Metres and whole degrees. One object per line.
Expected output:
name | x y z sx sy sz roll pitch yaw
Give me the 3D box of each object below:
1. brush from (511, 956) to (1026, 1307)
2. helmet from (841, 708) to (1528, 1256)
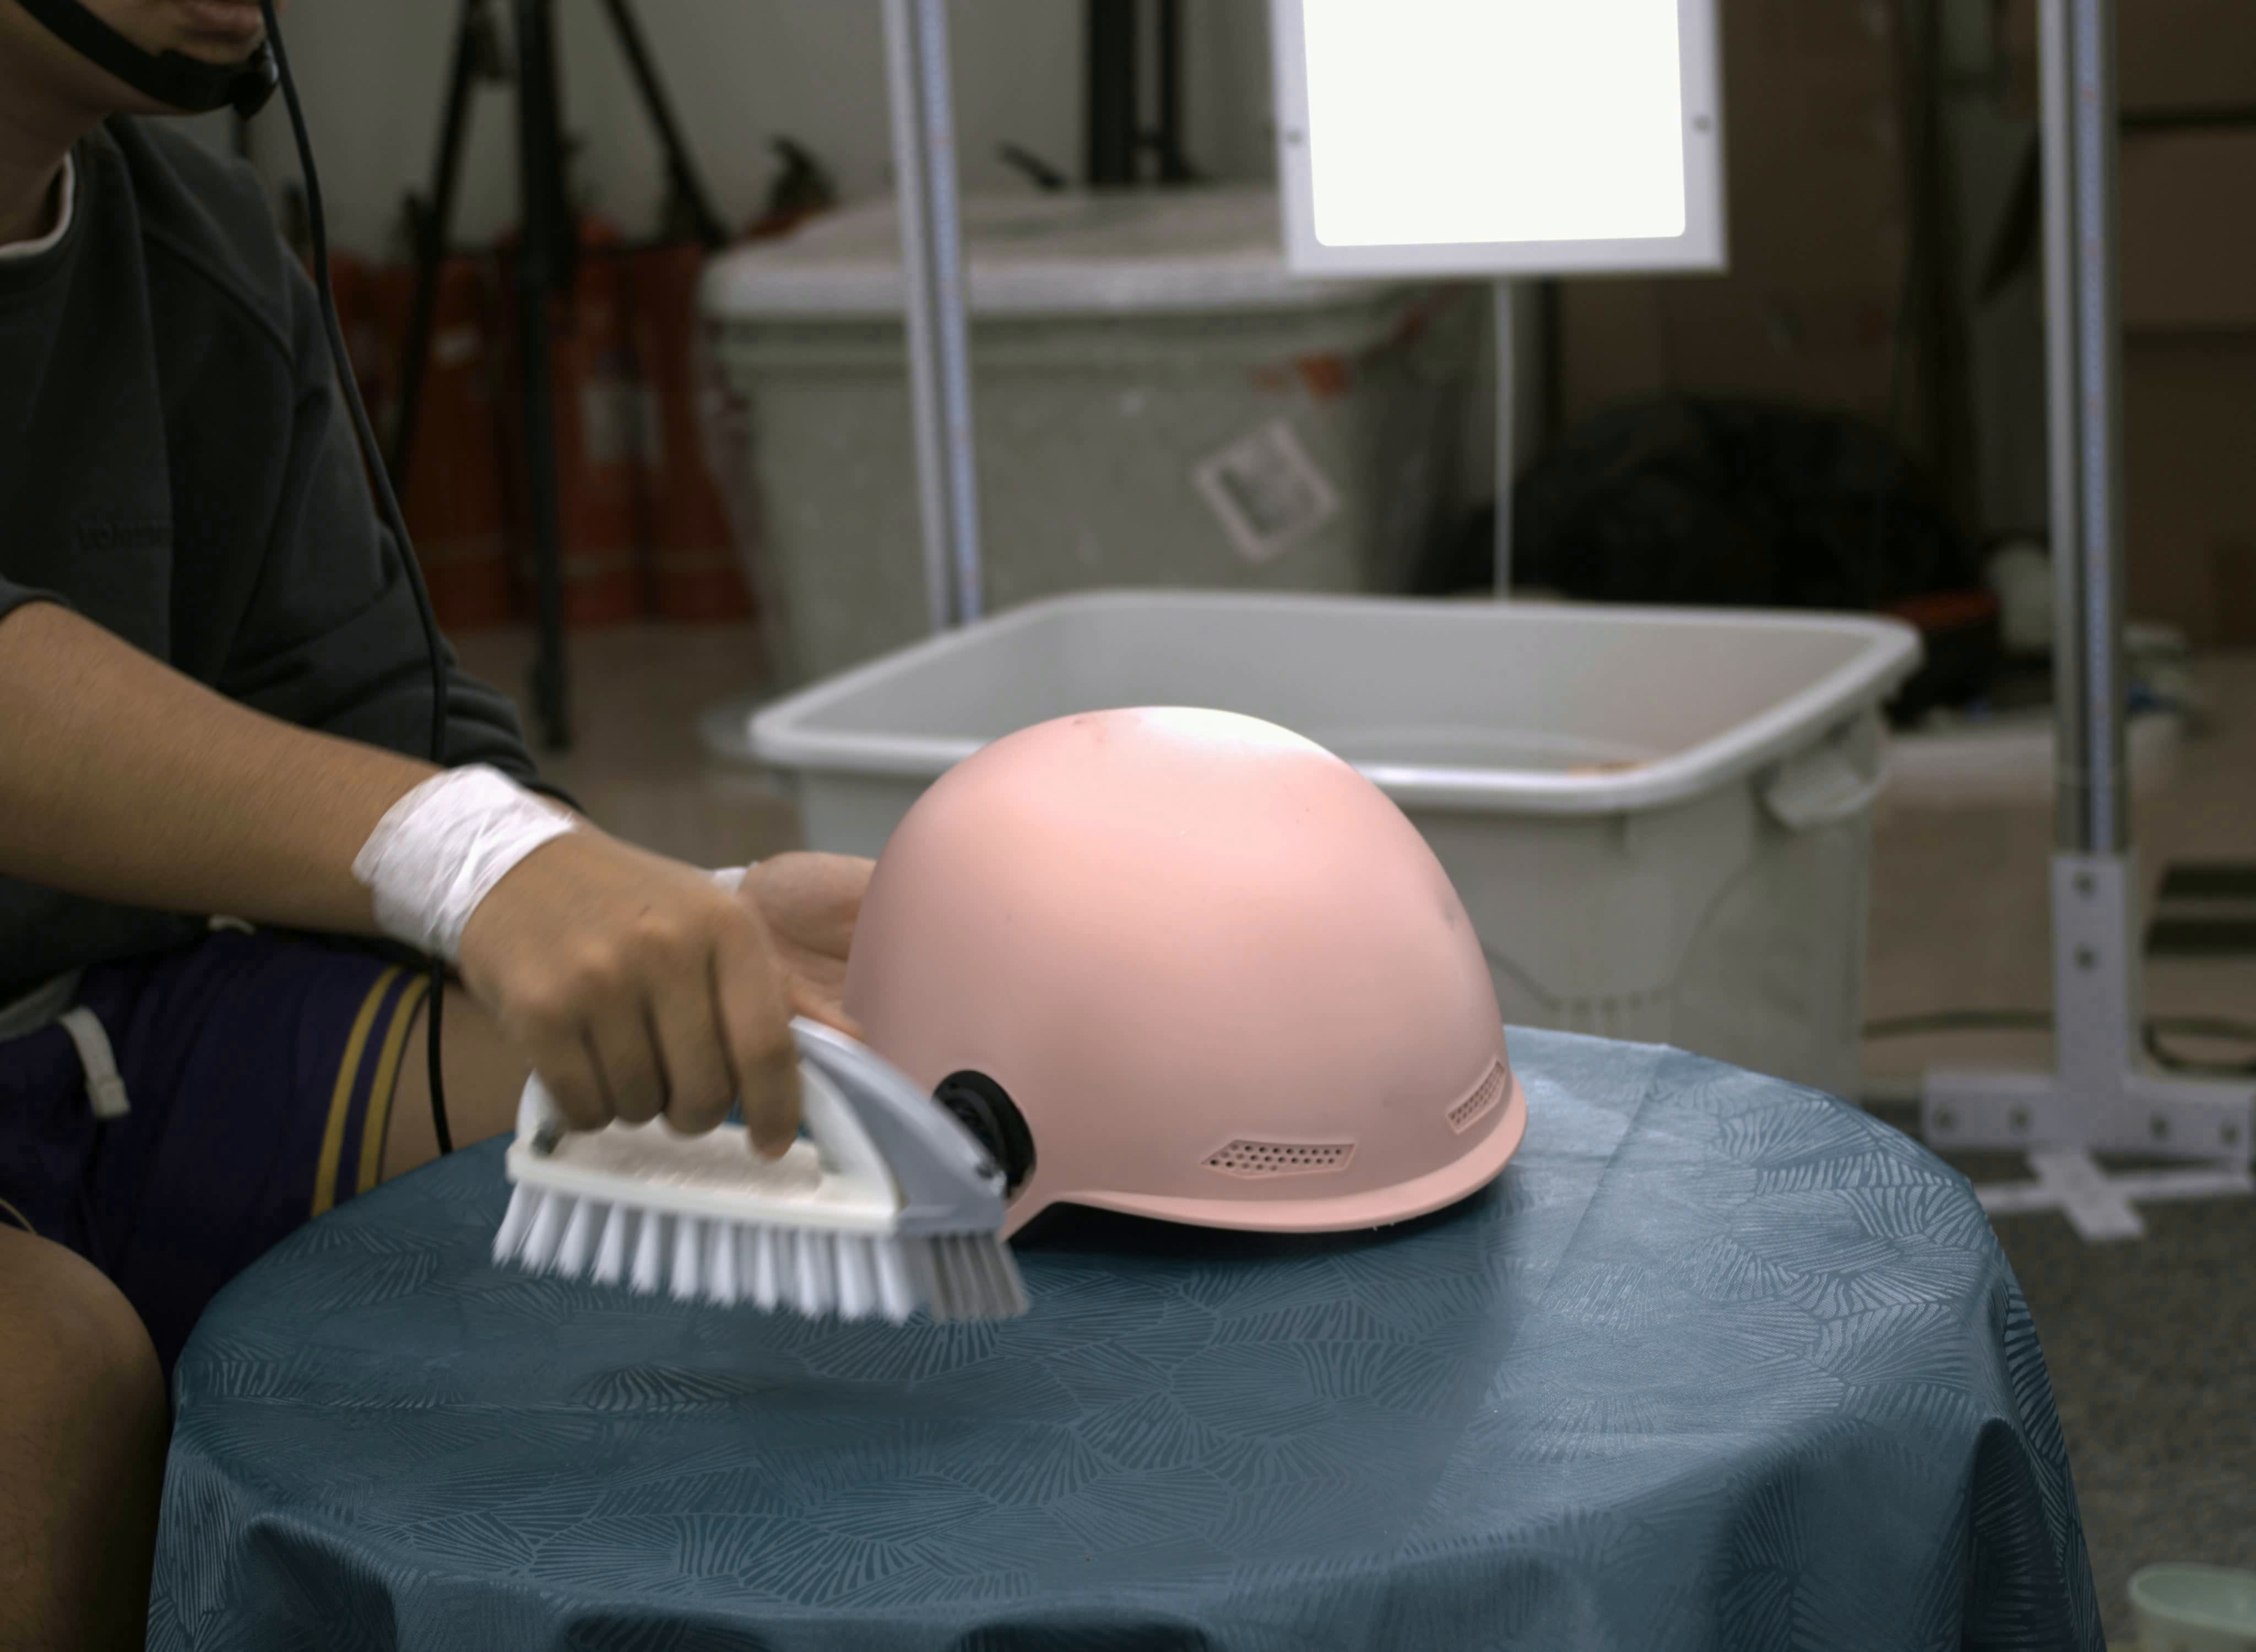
brush | -0.108 0.092 1.713 0.178 0.095 0.060 12 20 27
helmet | 0.016 0.044 1.910 0.228 0.159 0.271 -14 20 -34
